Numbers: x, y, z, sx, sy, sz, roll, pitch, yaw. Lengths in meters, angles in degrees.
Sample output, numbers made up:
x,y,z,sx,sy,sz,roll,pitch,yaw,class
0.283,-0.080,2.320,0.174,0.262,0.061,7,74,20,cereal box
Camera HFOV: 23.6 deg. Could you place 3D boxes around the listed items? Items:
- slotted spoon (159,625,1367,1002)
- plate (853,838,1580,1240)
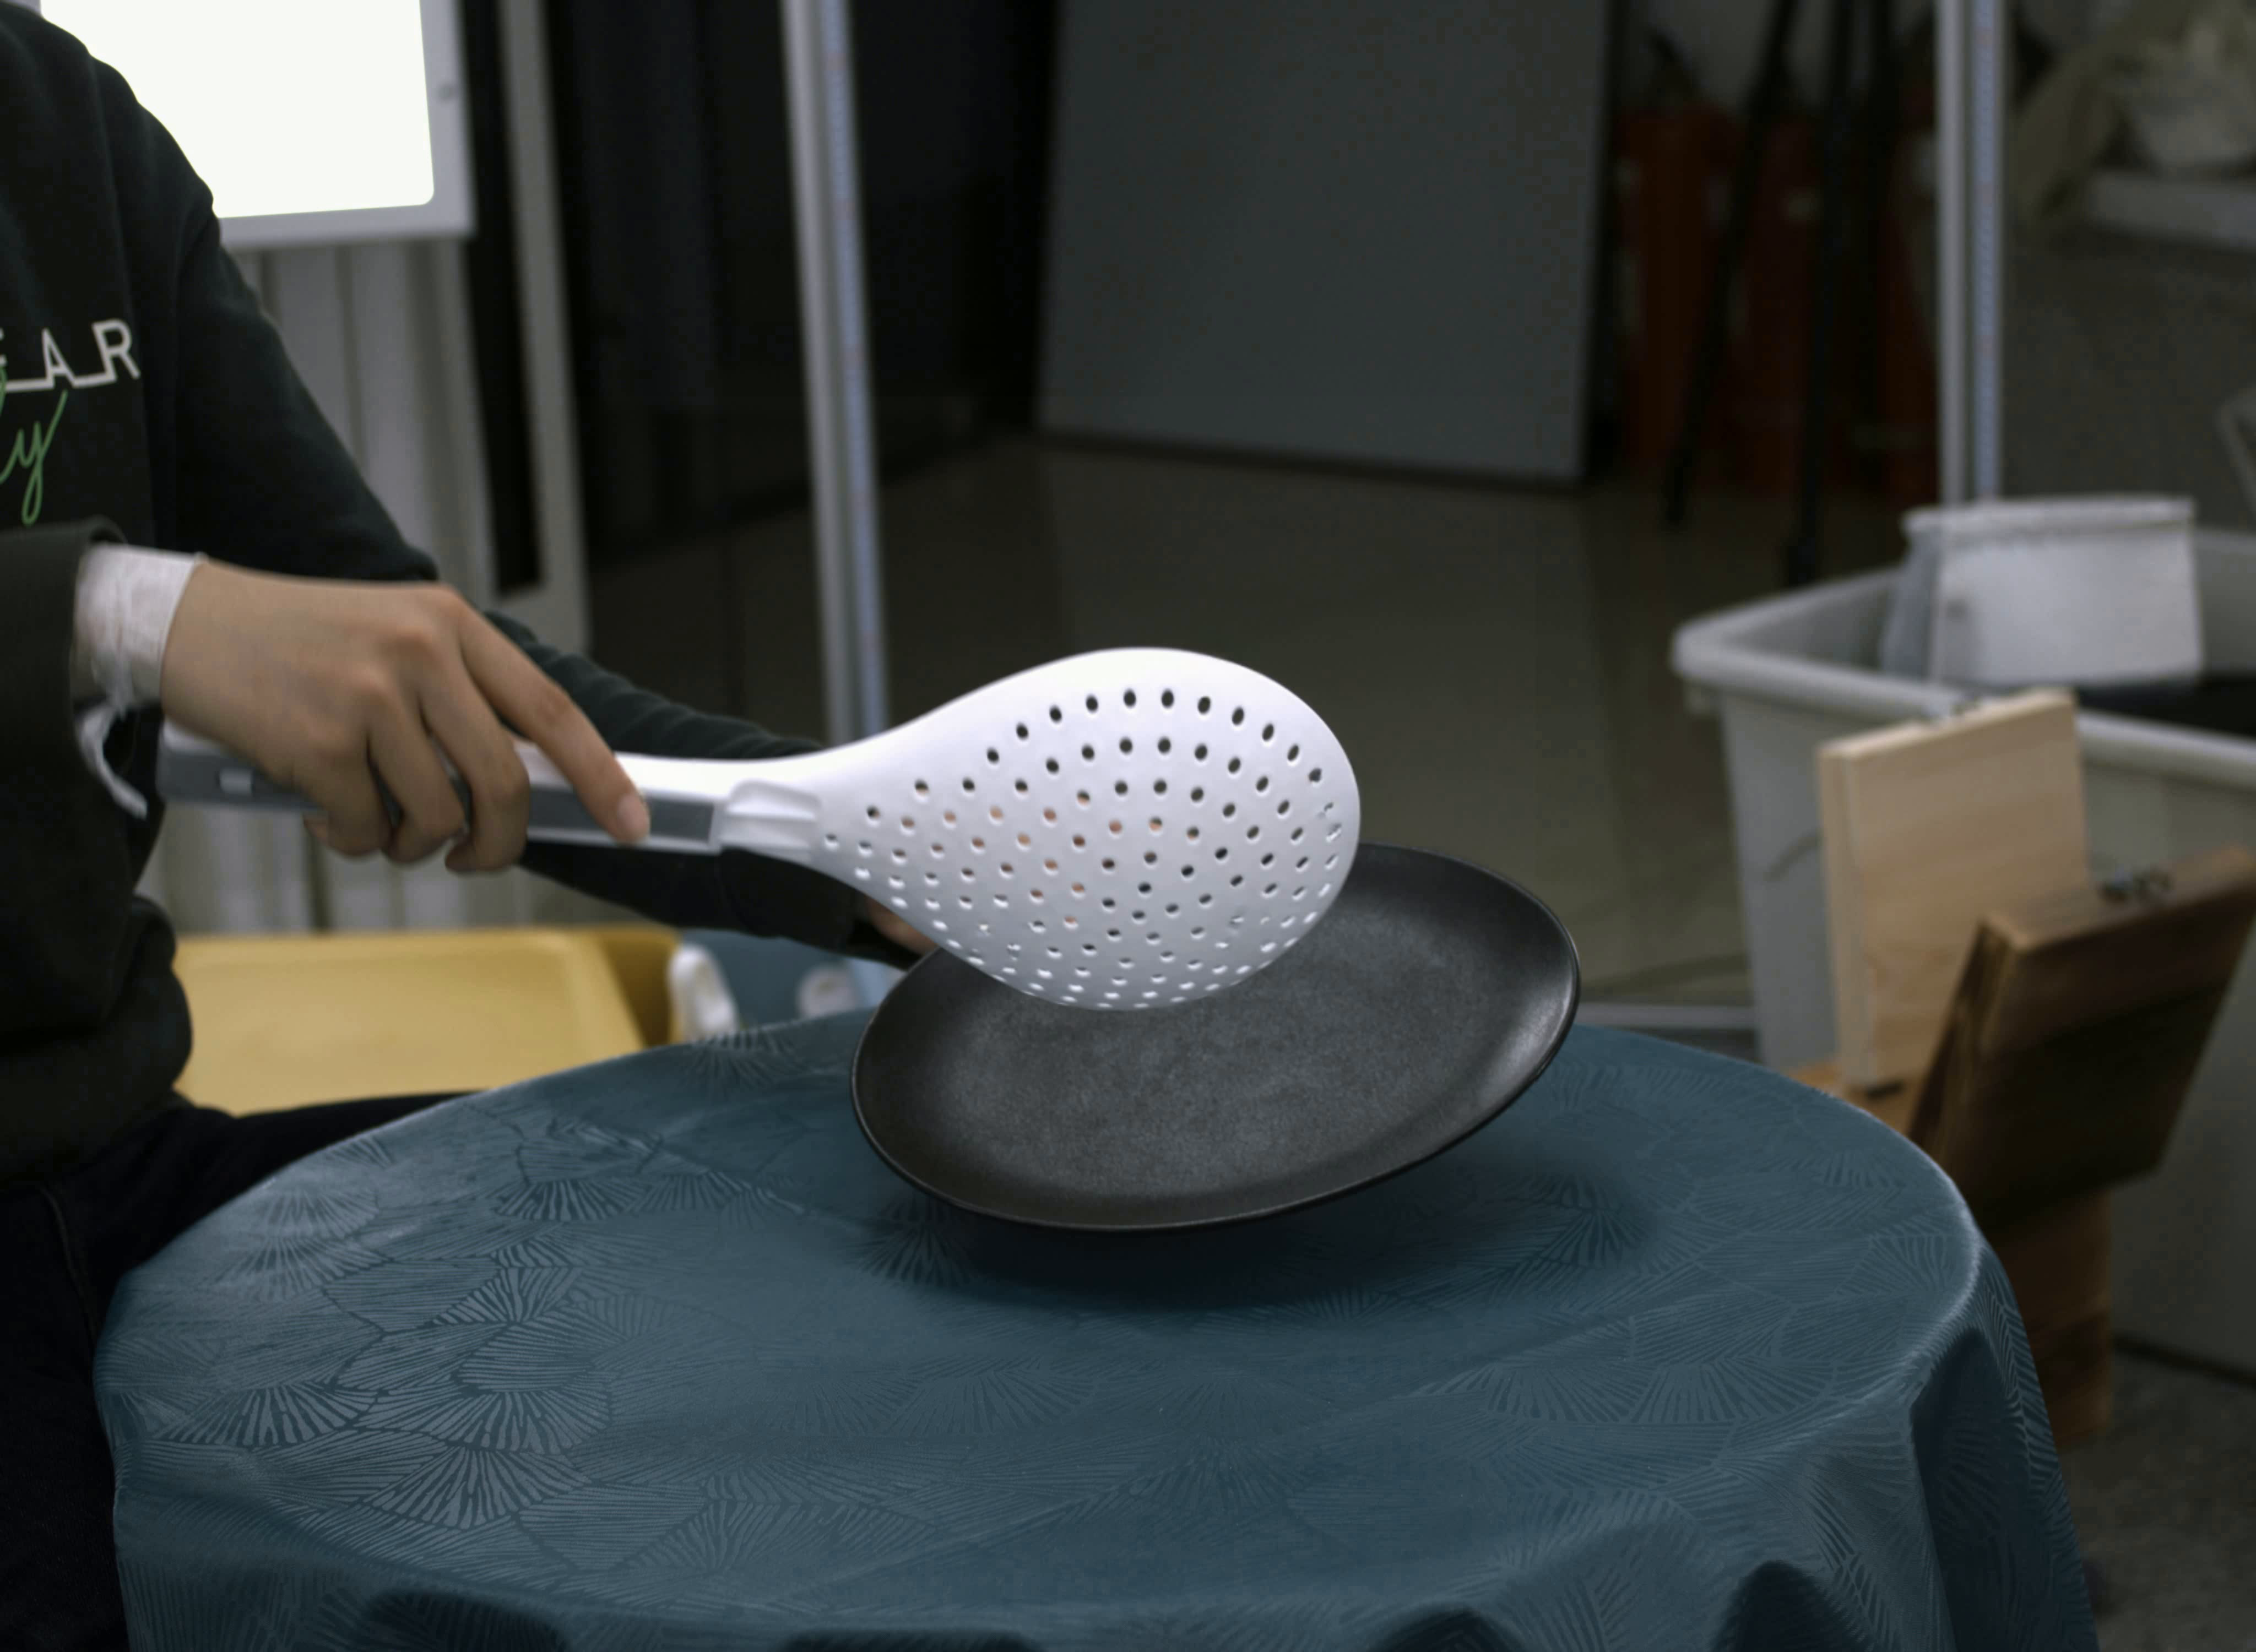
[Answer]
x,y,z,sx,sy,sz,roll,pitch,yaw,class
-0.102,-0.005,1.551,0.344,0.137,0.046,7,38,-3,slotted spoon
0.030,0.073,1.757,0.242,0.023,0.245,-10,28,4,plate
